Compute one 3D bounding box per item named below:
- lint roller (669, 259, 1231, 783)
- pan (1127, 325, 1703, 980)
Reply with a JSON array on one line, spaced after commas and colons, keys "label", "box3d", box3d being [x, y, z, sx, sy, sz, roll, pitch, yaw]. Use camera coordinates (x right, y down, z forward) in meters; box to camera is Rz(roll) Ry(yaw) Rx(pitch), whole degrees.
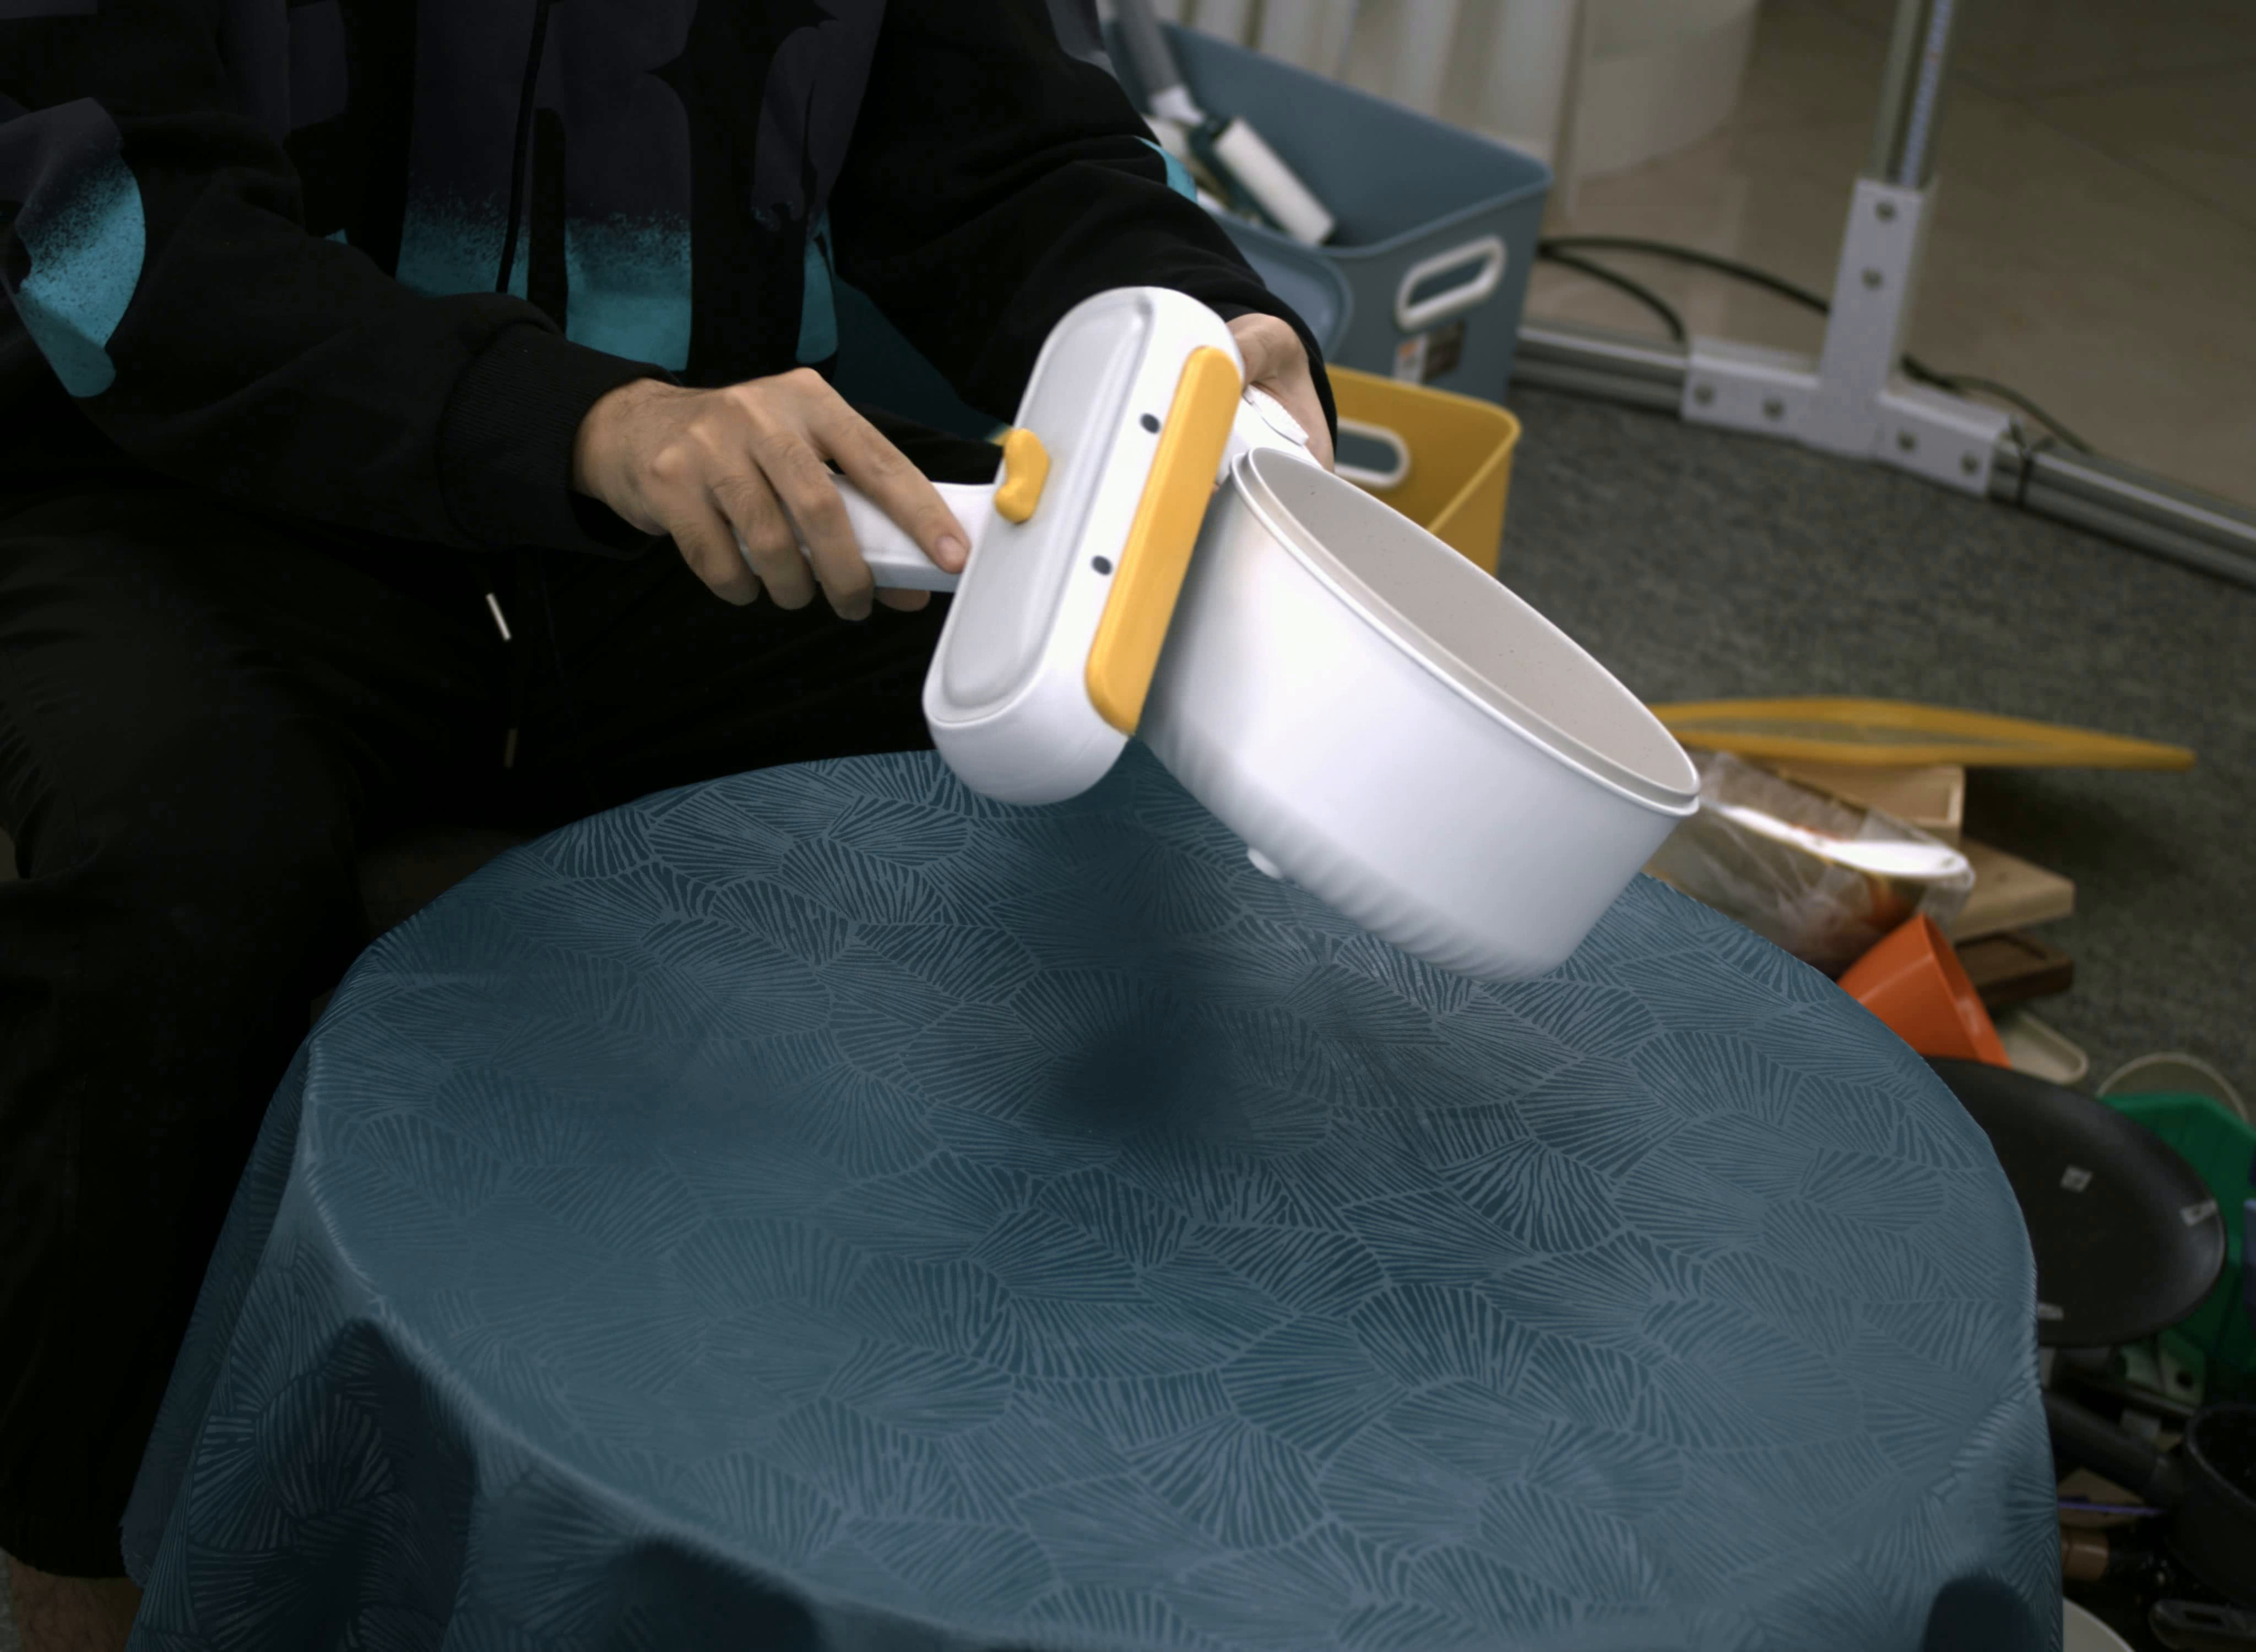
[{"label": "lint roller", "box3d": [-0.067, -0.102, 1.813, 0.193, 0.073, 0.194, -7, 59, 34]}, {"label": "pan", "box3d": [0.062, -0.074, 1.903, 0.199, 0.102, 0.358, 28, 15, -37]}]
